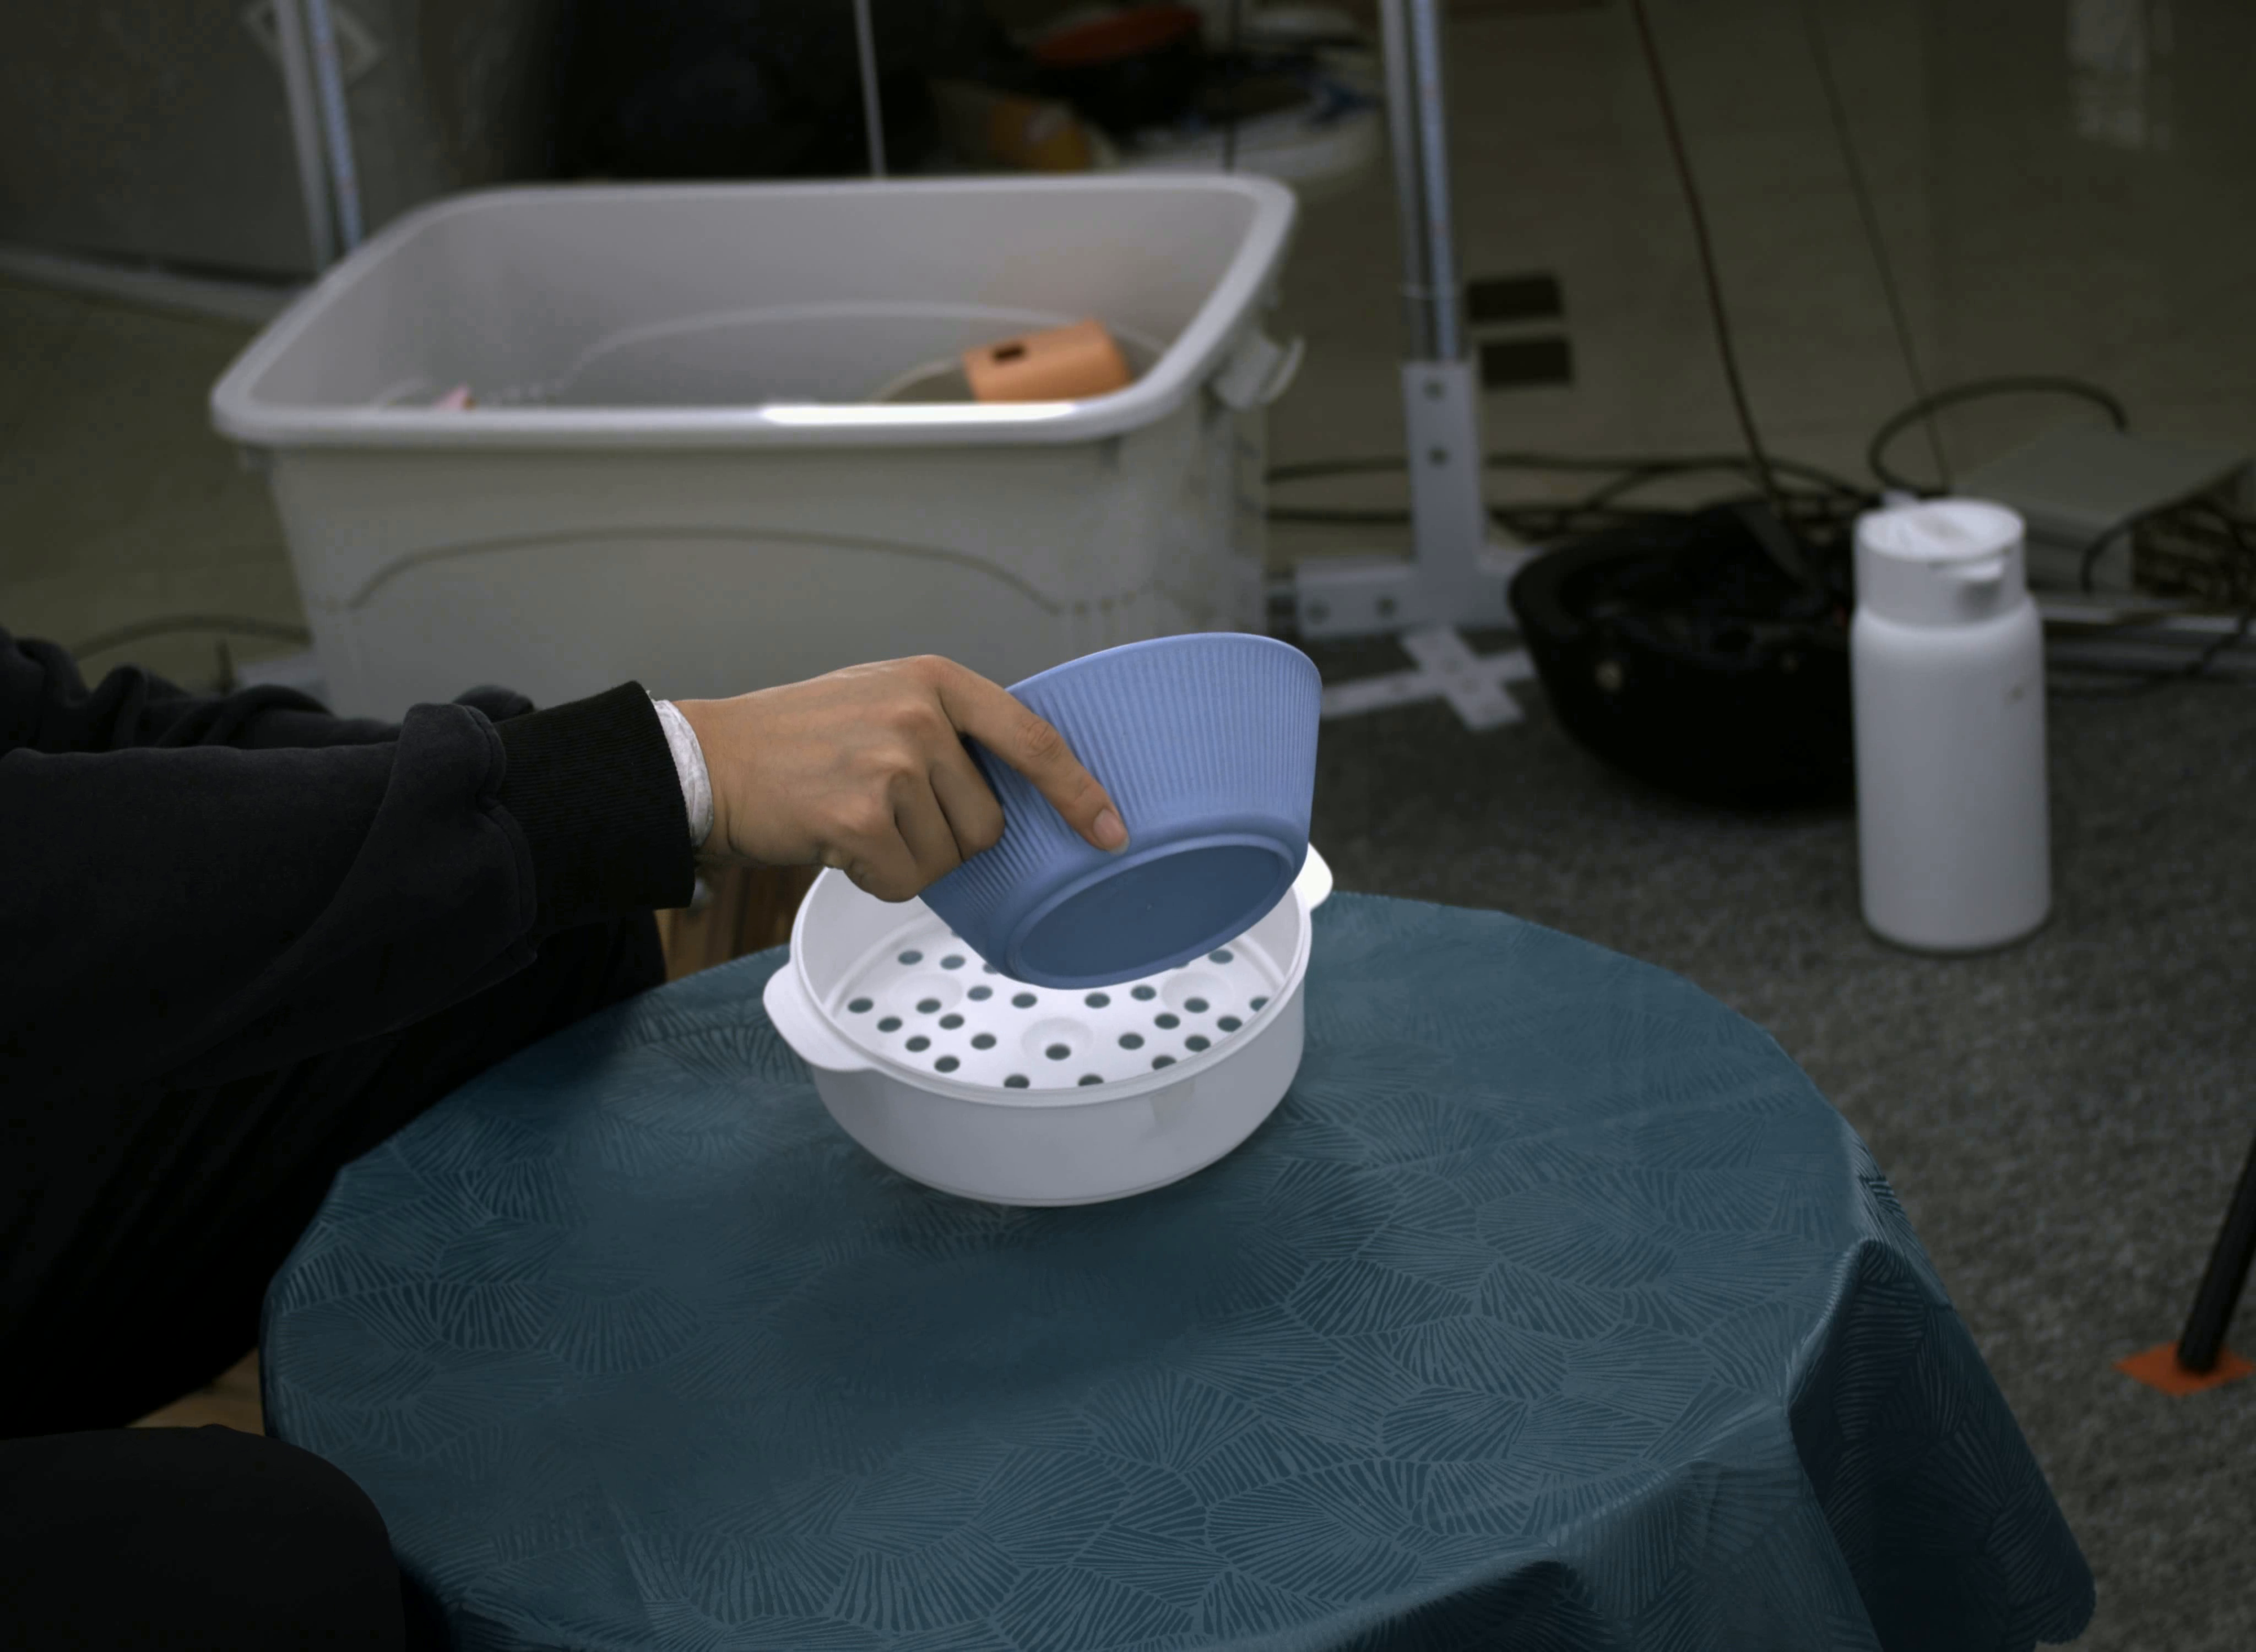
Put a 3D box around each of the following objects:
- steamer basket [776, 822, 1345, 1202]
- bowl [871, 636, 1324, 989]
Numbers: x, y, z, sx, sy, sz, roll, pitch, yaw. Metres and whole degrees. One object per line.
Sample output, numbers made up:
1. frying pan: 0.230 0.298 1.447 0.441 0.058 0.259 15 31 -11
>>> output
1. steamer basket: -0.024 0.063 2.200 0.229 0.070 0.199 -17 41 -22
2. bowl: -0.001 0.004 2.053 0.175 0.178 0.069 -14 67 -16
